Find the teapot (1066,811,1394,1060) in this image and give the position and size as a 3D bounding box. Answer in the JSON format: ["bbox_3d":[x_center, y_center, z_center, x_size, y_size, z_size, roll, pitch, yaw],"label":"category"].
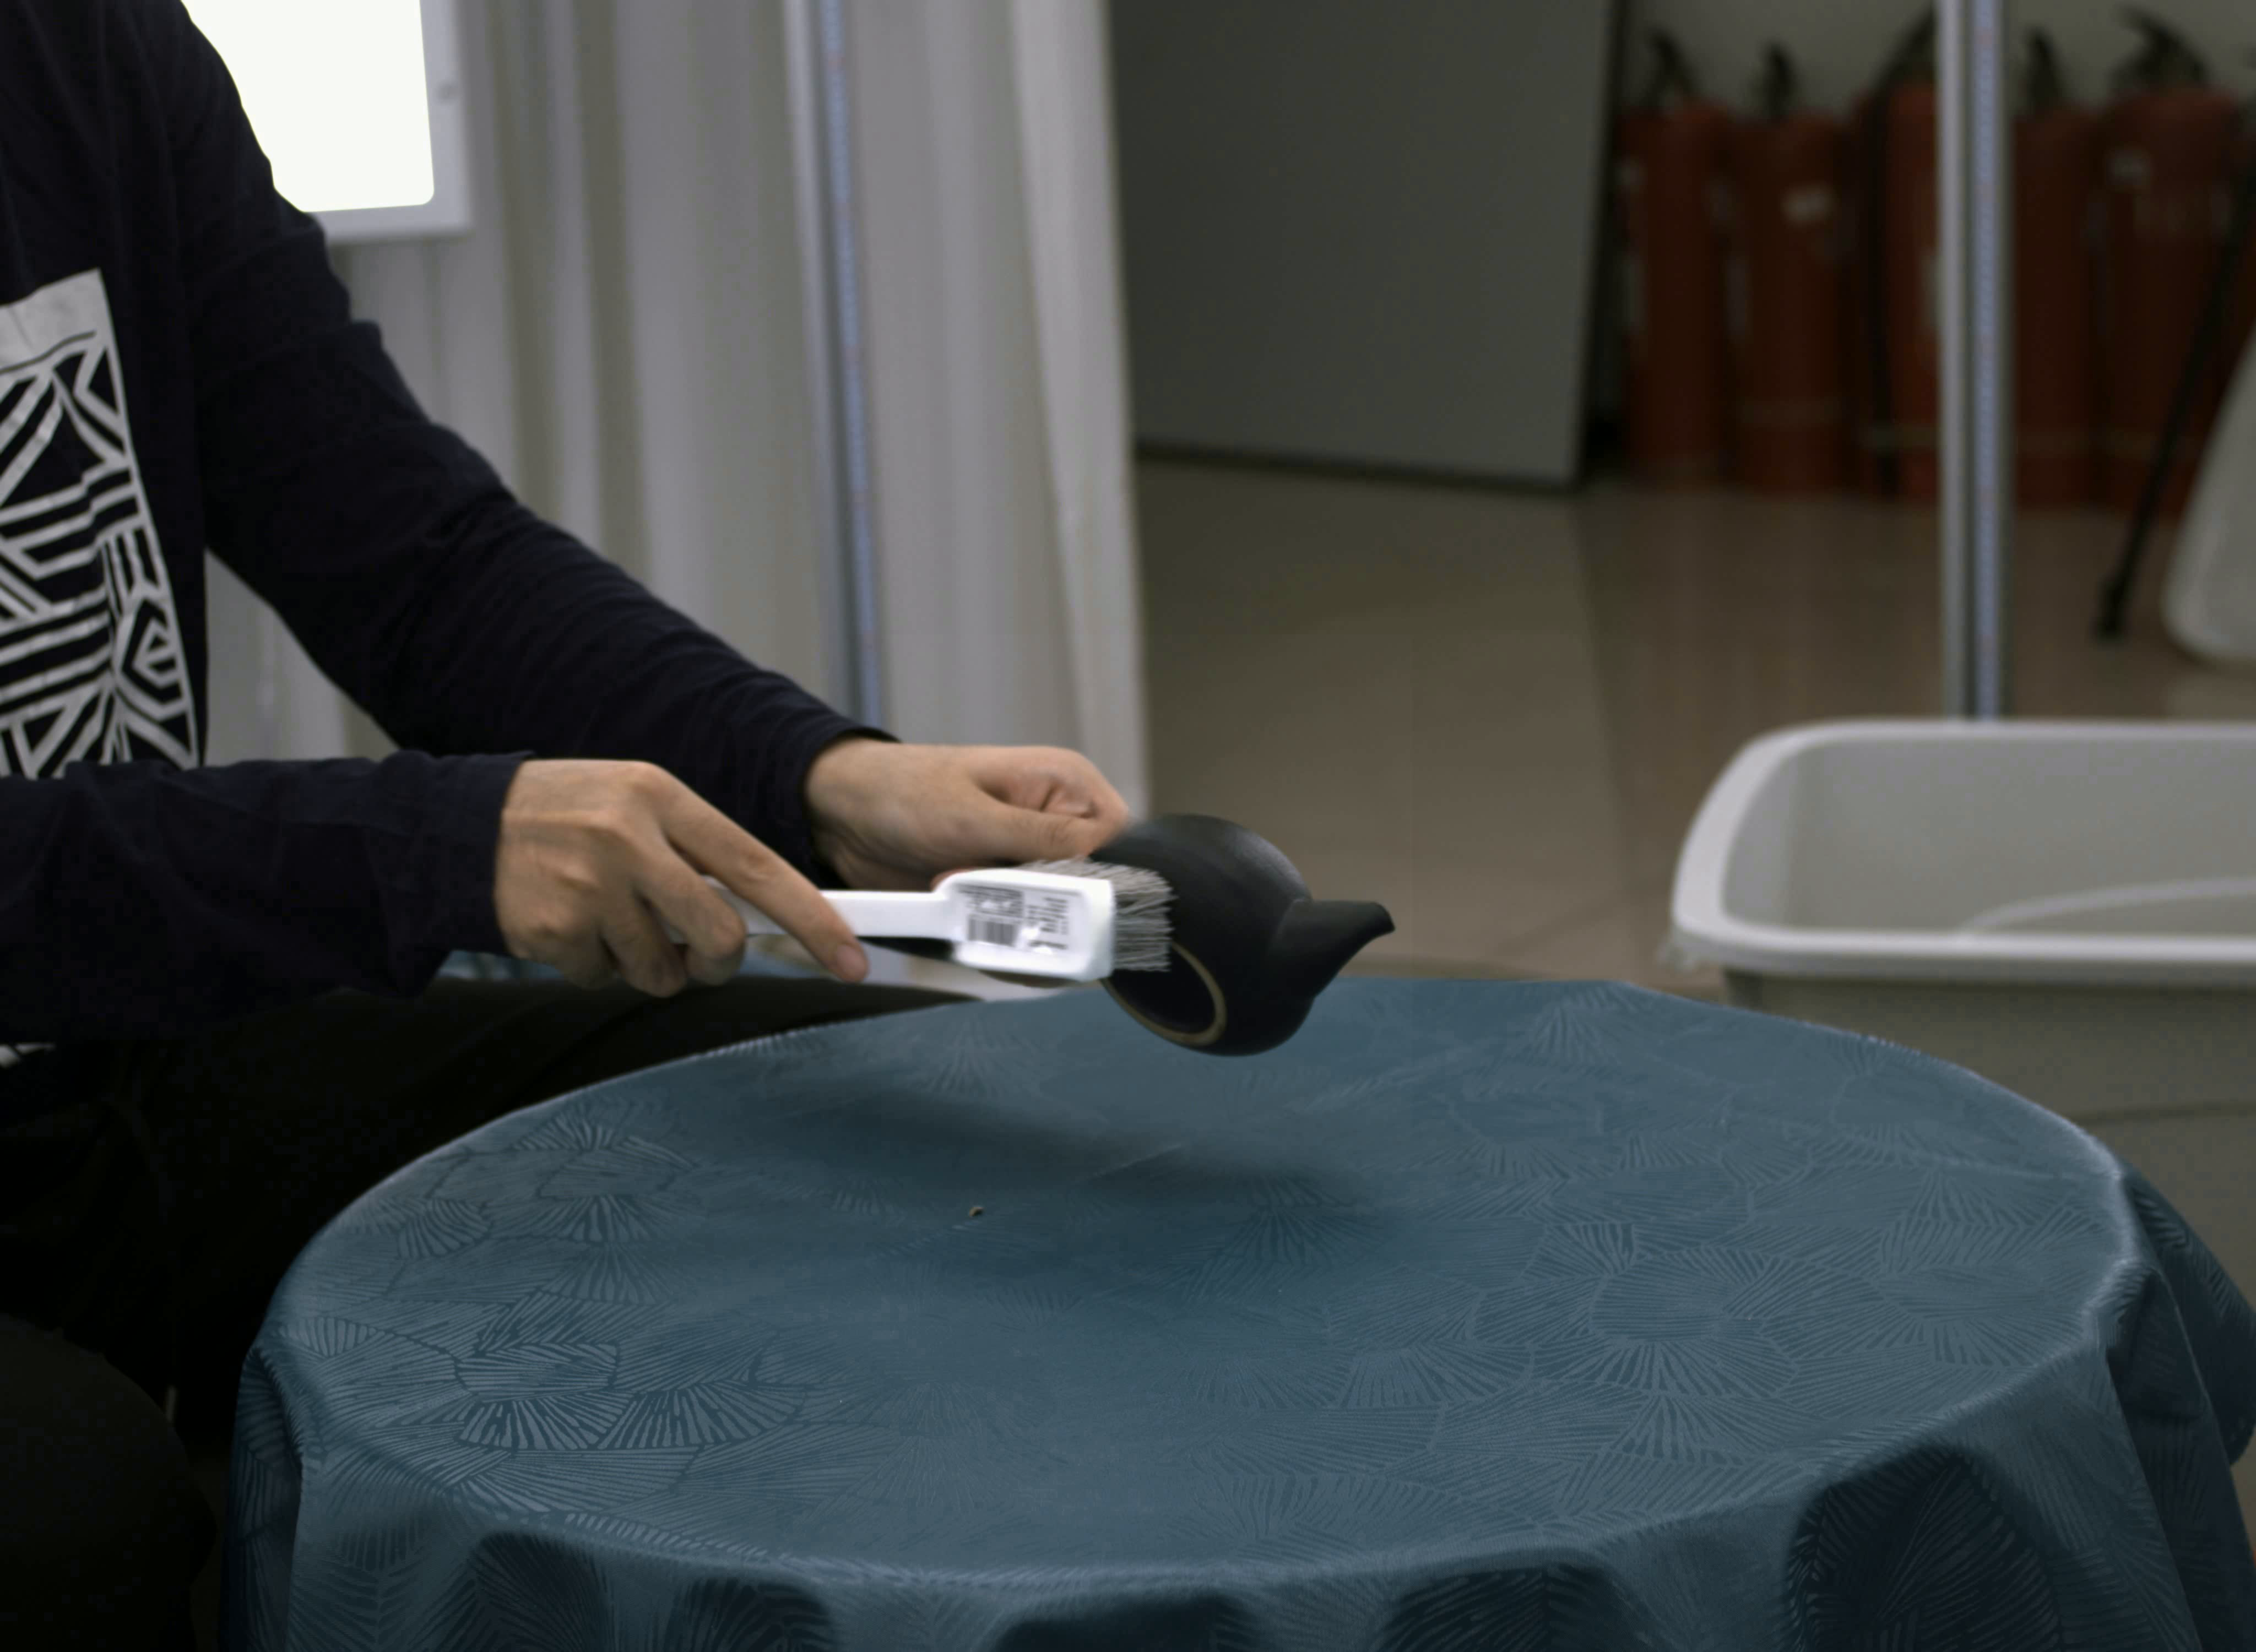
[{"bbox_3d":[0.023,0.035,1.781,0.134,0.091,0.052,11,43,40],"label":"teapot"}]

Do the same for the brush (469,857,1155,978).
[{"bbox_3d":[-0.104,0.031,1.786,0.244,0.035,0.049,-1,7,26],"label":"brush"}]
